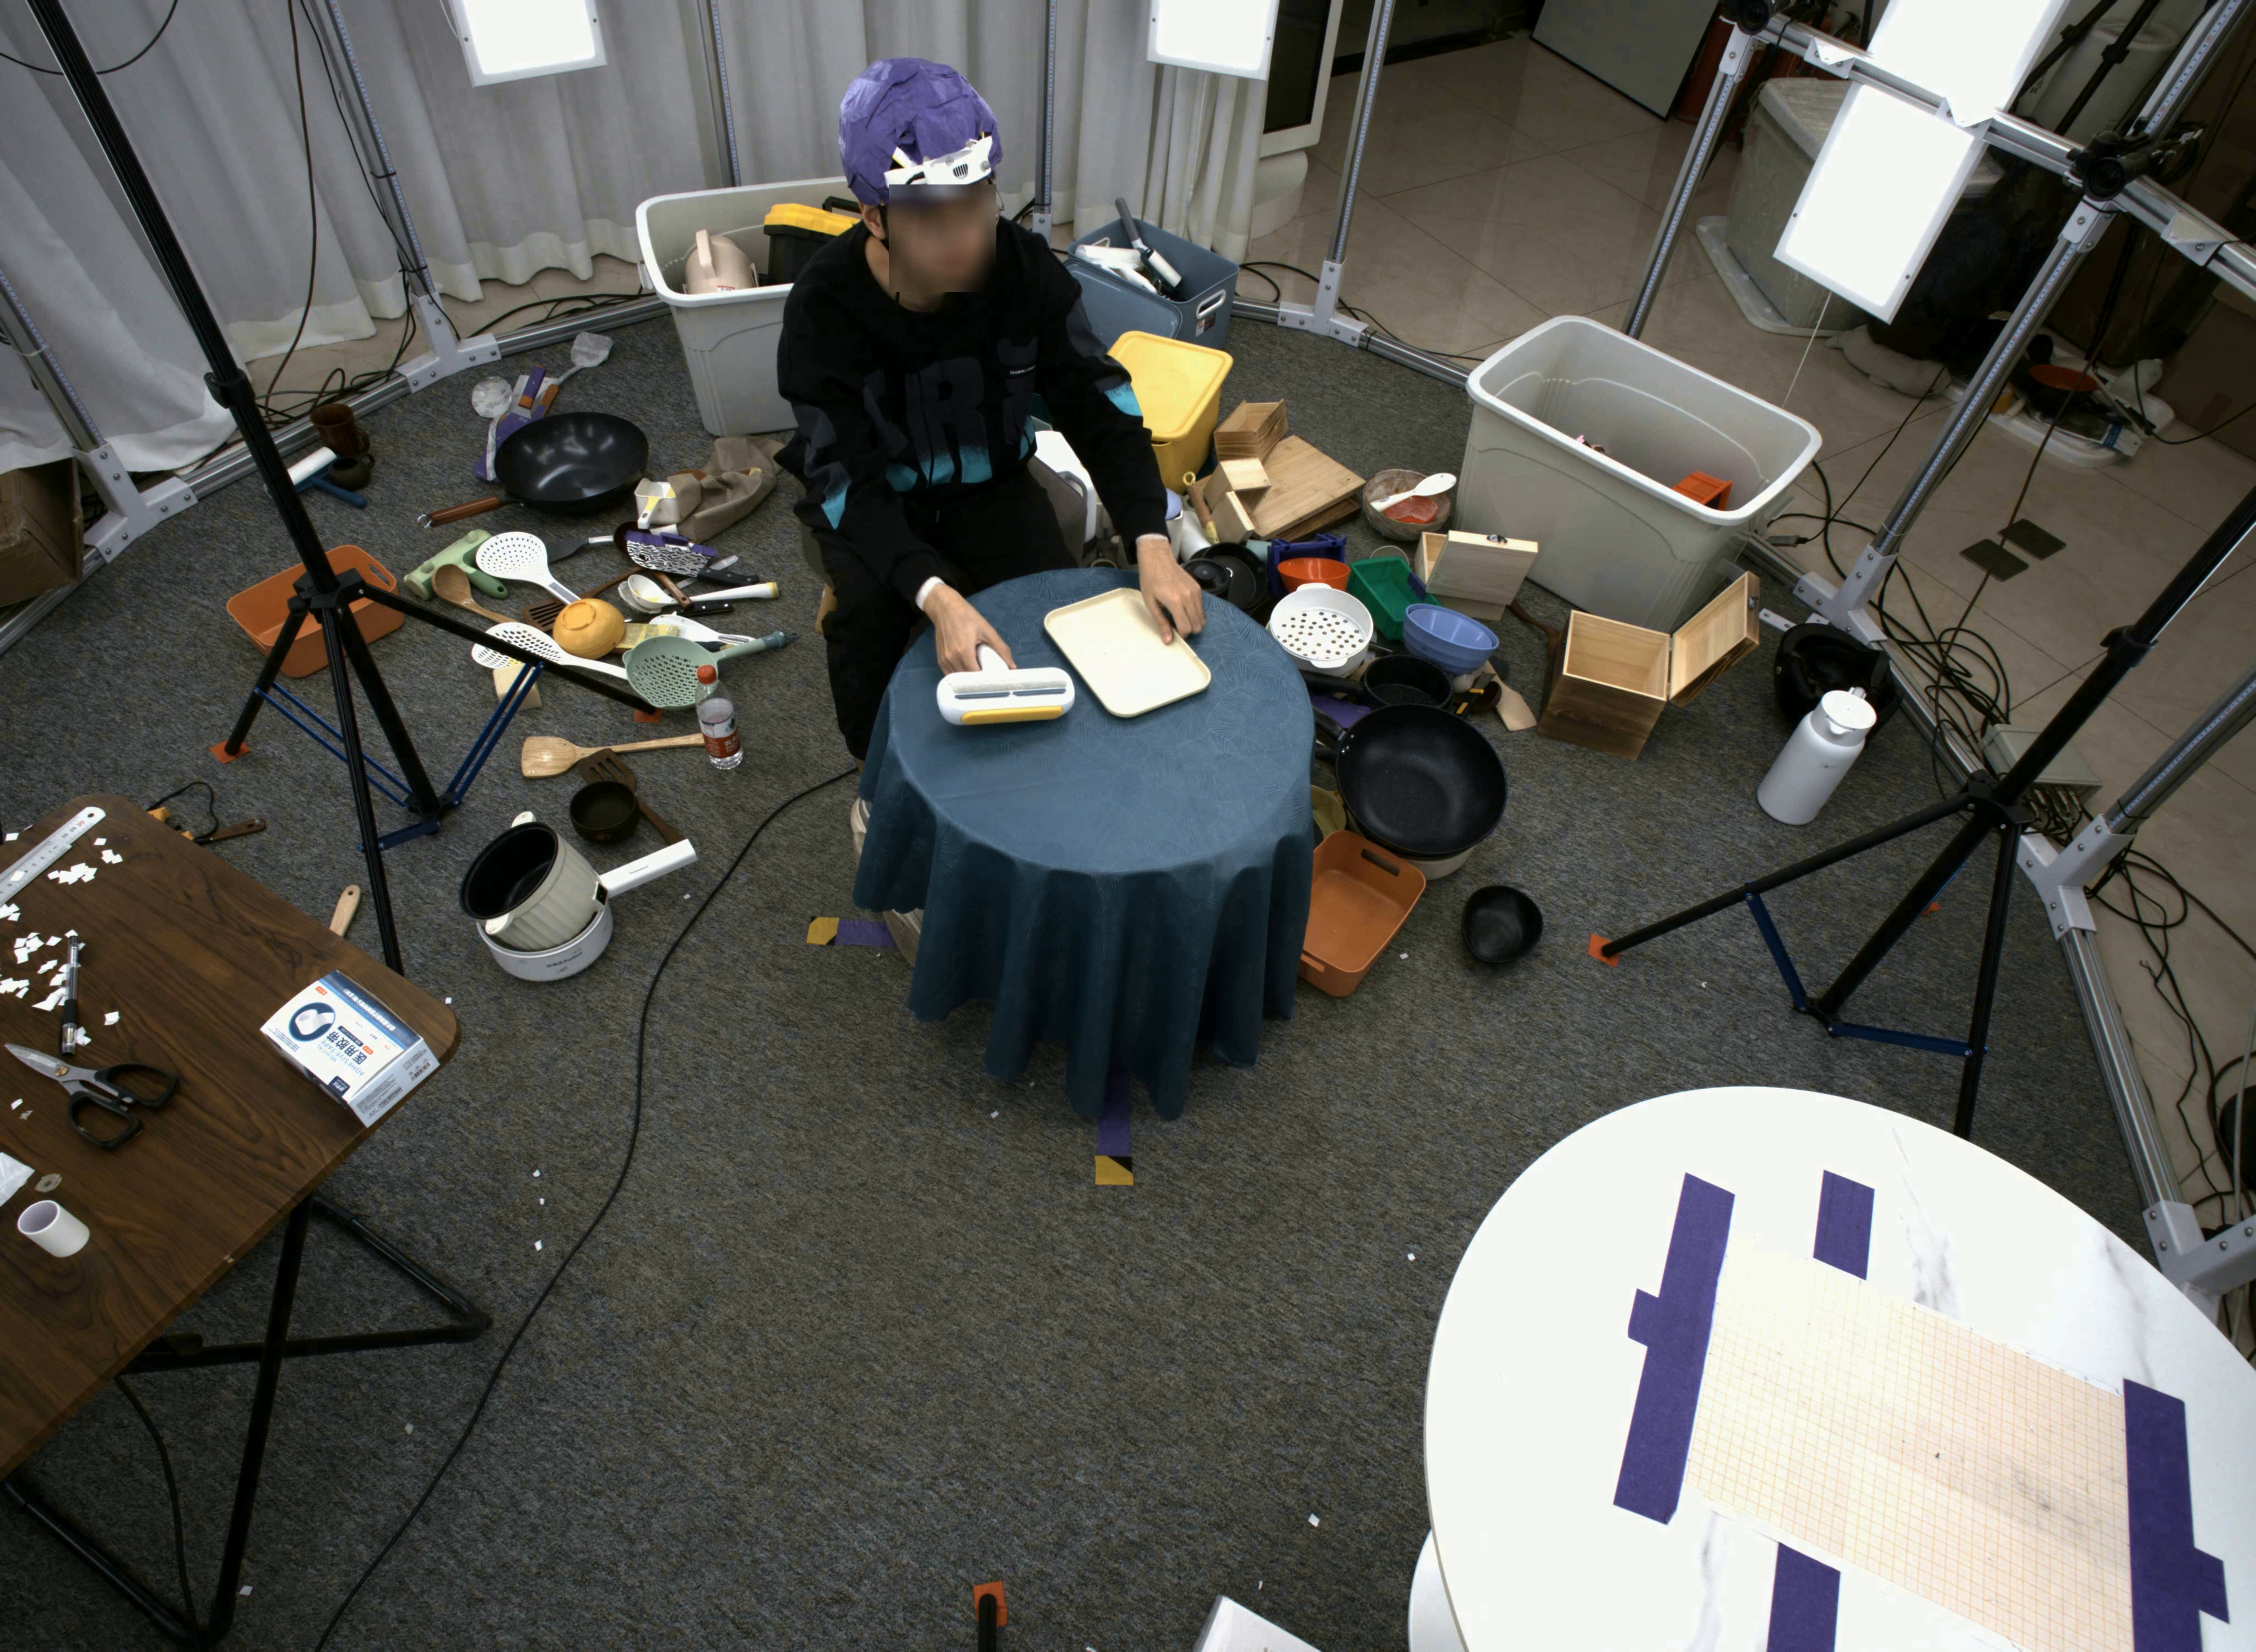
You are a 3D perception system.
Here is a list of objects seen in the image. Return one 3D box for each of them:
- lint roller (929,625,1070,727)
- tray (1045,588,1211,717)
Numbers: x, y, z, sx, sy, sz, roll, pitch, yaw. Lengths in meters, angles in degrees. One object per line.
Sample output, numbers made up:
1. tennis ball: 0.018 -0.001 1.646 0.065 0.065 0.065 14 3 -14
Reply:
1. lint roller: -0.189 -0.220 1.793 0.192 0.072 0.197 -5 55 -17
2. tray: -0.002 -0.255 1.878 0.172 0.017 0.245 -22 54 -20
